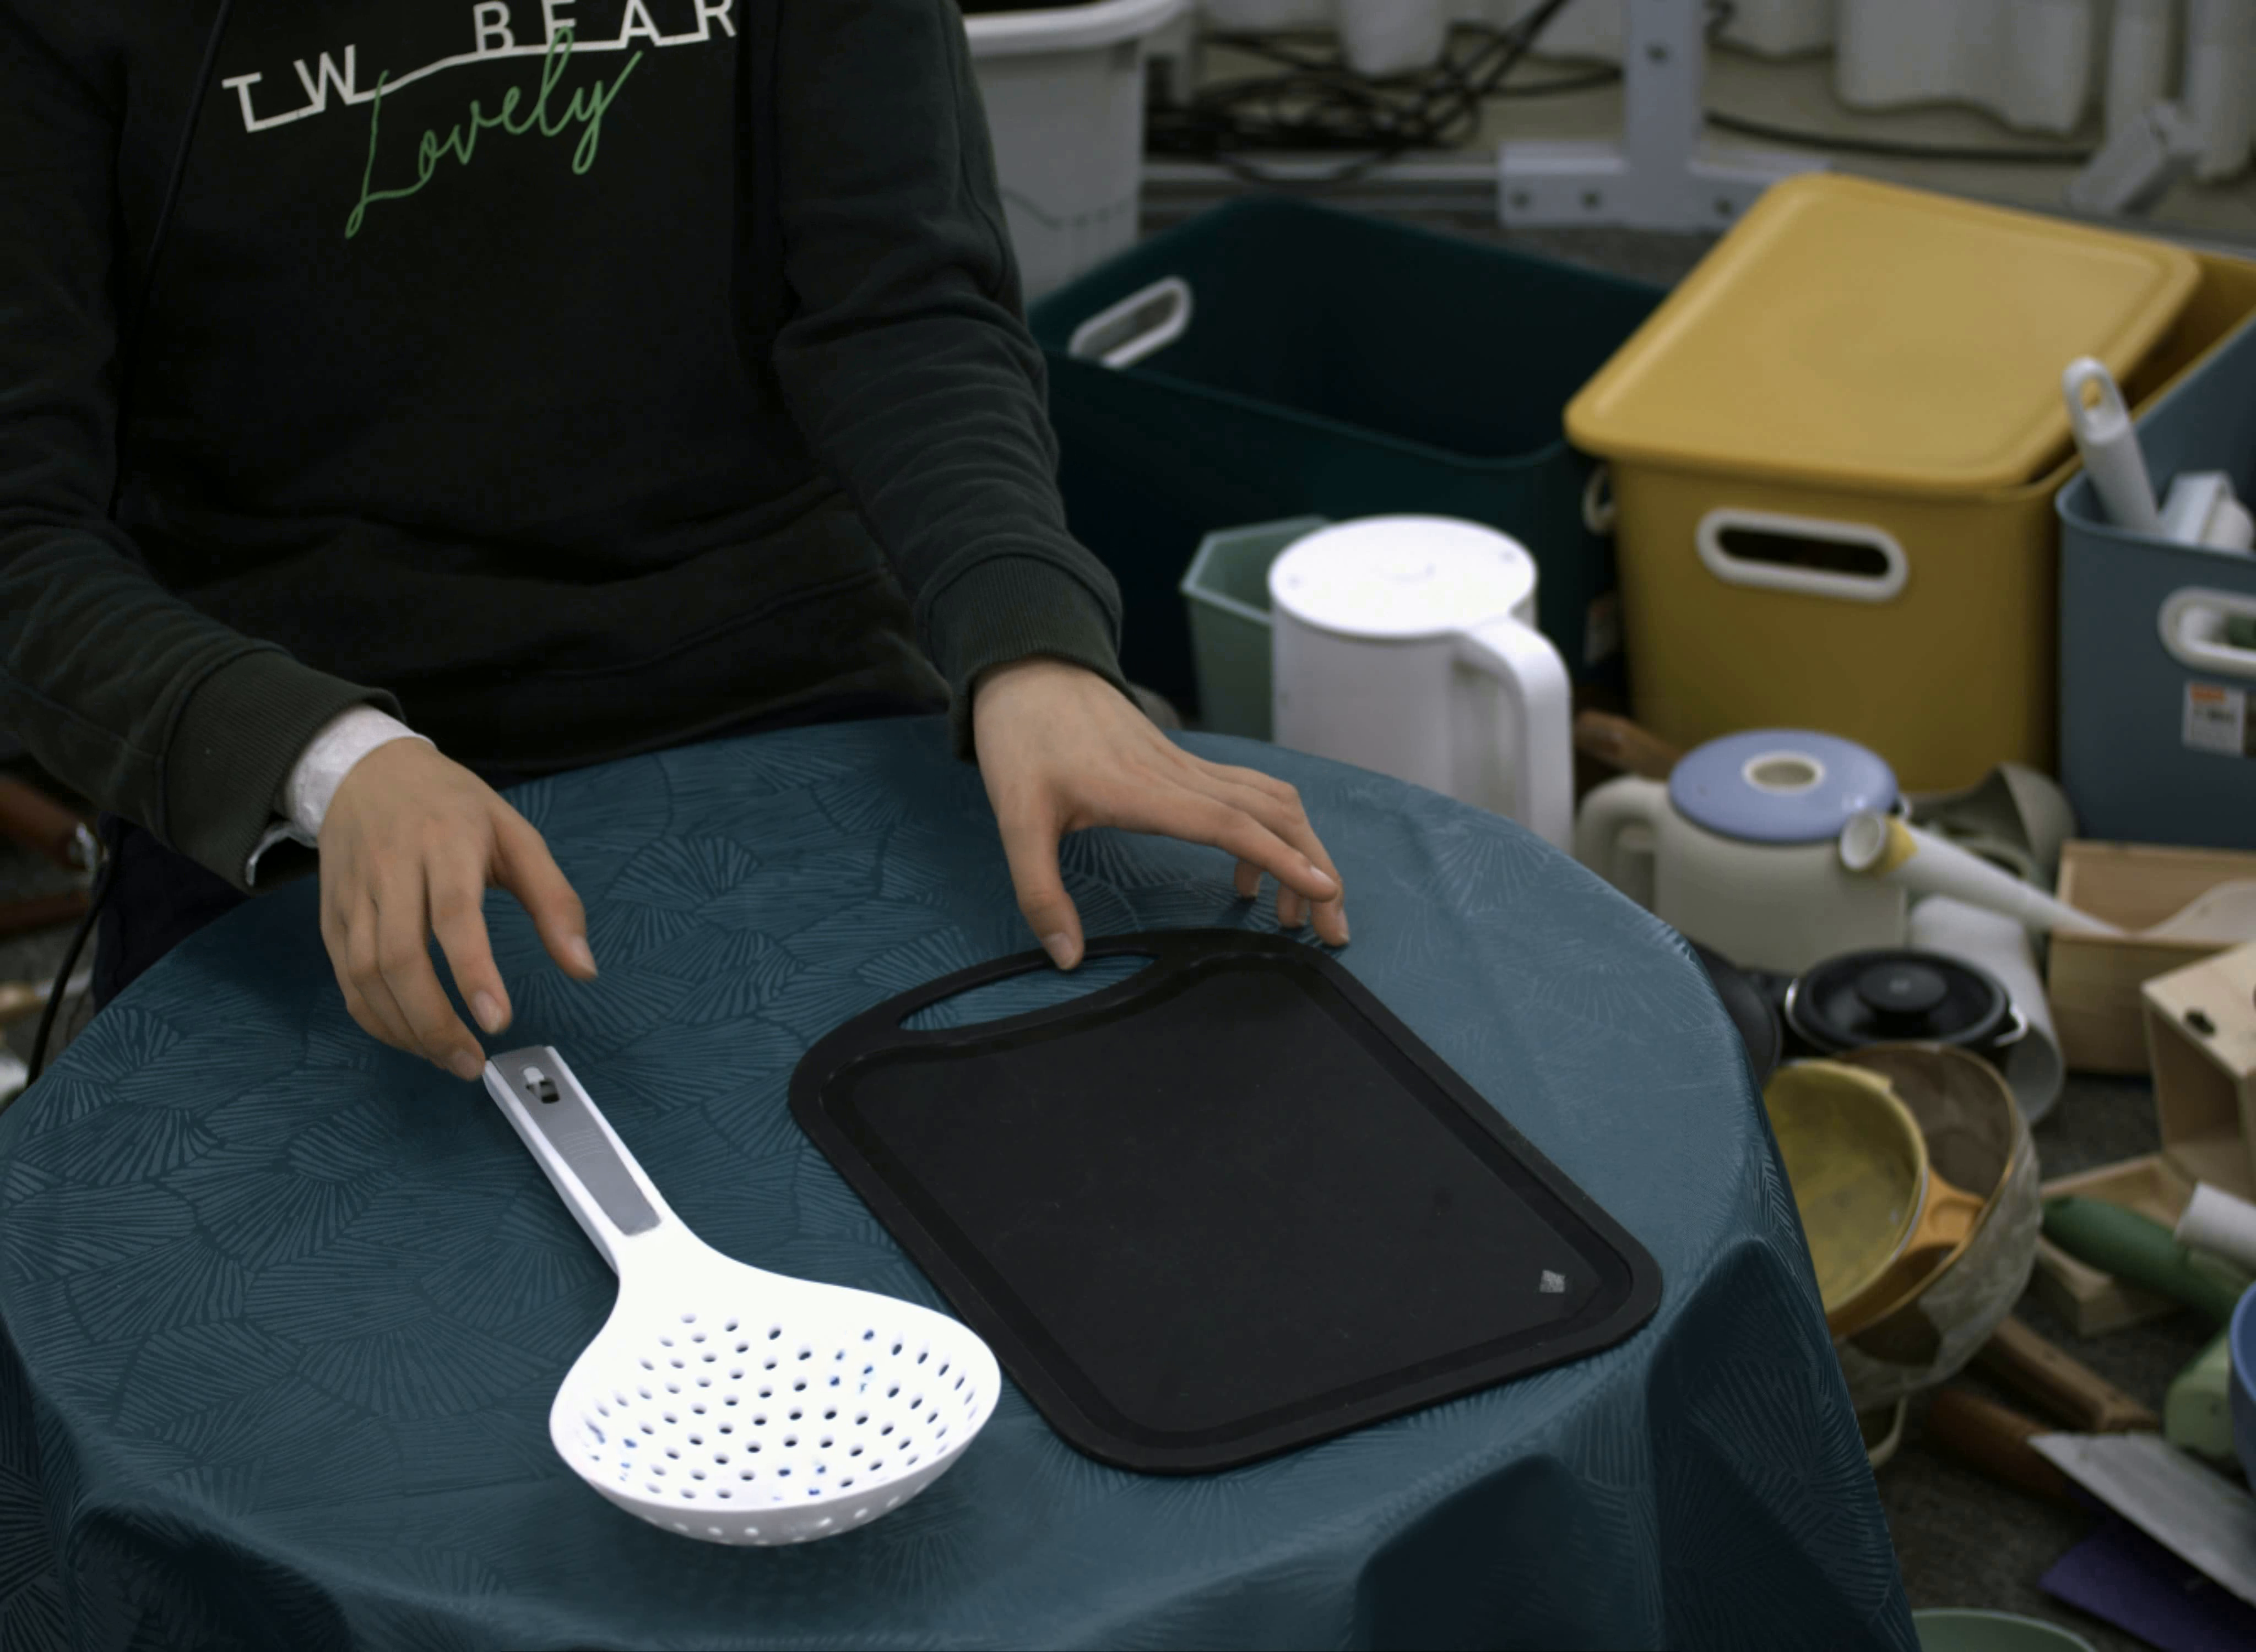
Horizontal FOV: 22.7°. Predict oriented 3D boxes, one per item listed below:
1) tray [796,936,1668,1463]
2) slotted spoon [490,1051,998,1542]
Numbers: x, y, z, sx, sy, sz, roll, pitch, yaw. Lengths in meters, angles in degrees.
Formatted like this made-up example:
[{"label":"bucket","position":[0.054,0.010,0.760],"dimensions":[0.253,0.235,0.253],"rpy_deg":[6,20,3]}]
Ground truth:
[{"label":"tray","position":[0.024,0.114,1.866],"dimensions":[0.212,0.009,0.327],"rpy_deg":[-14,29,-21]},{"label":"slotted spoon","position":[-0.146,0.143,1.785],"dimensions":[0.136,0.045,0.352],"rpy_deg":[-11,27,-19]}]
